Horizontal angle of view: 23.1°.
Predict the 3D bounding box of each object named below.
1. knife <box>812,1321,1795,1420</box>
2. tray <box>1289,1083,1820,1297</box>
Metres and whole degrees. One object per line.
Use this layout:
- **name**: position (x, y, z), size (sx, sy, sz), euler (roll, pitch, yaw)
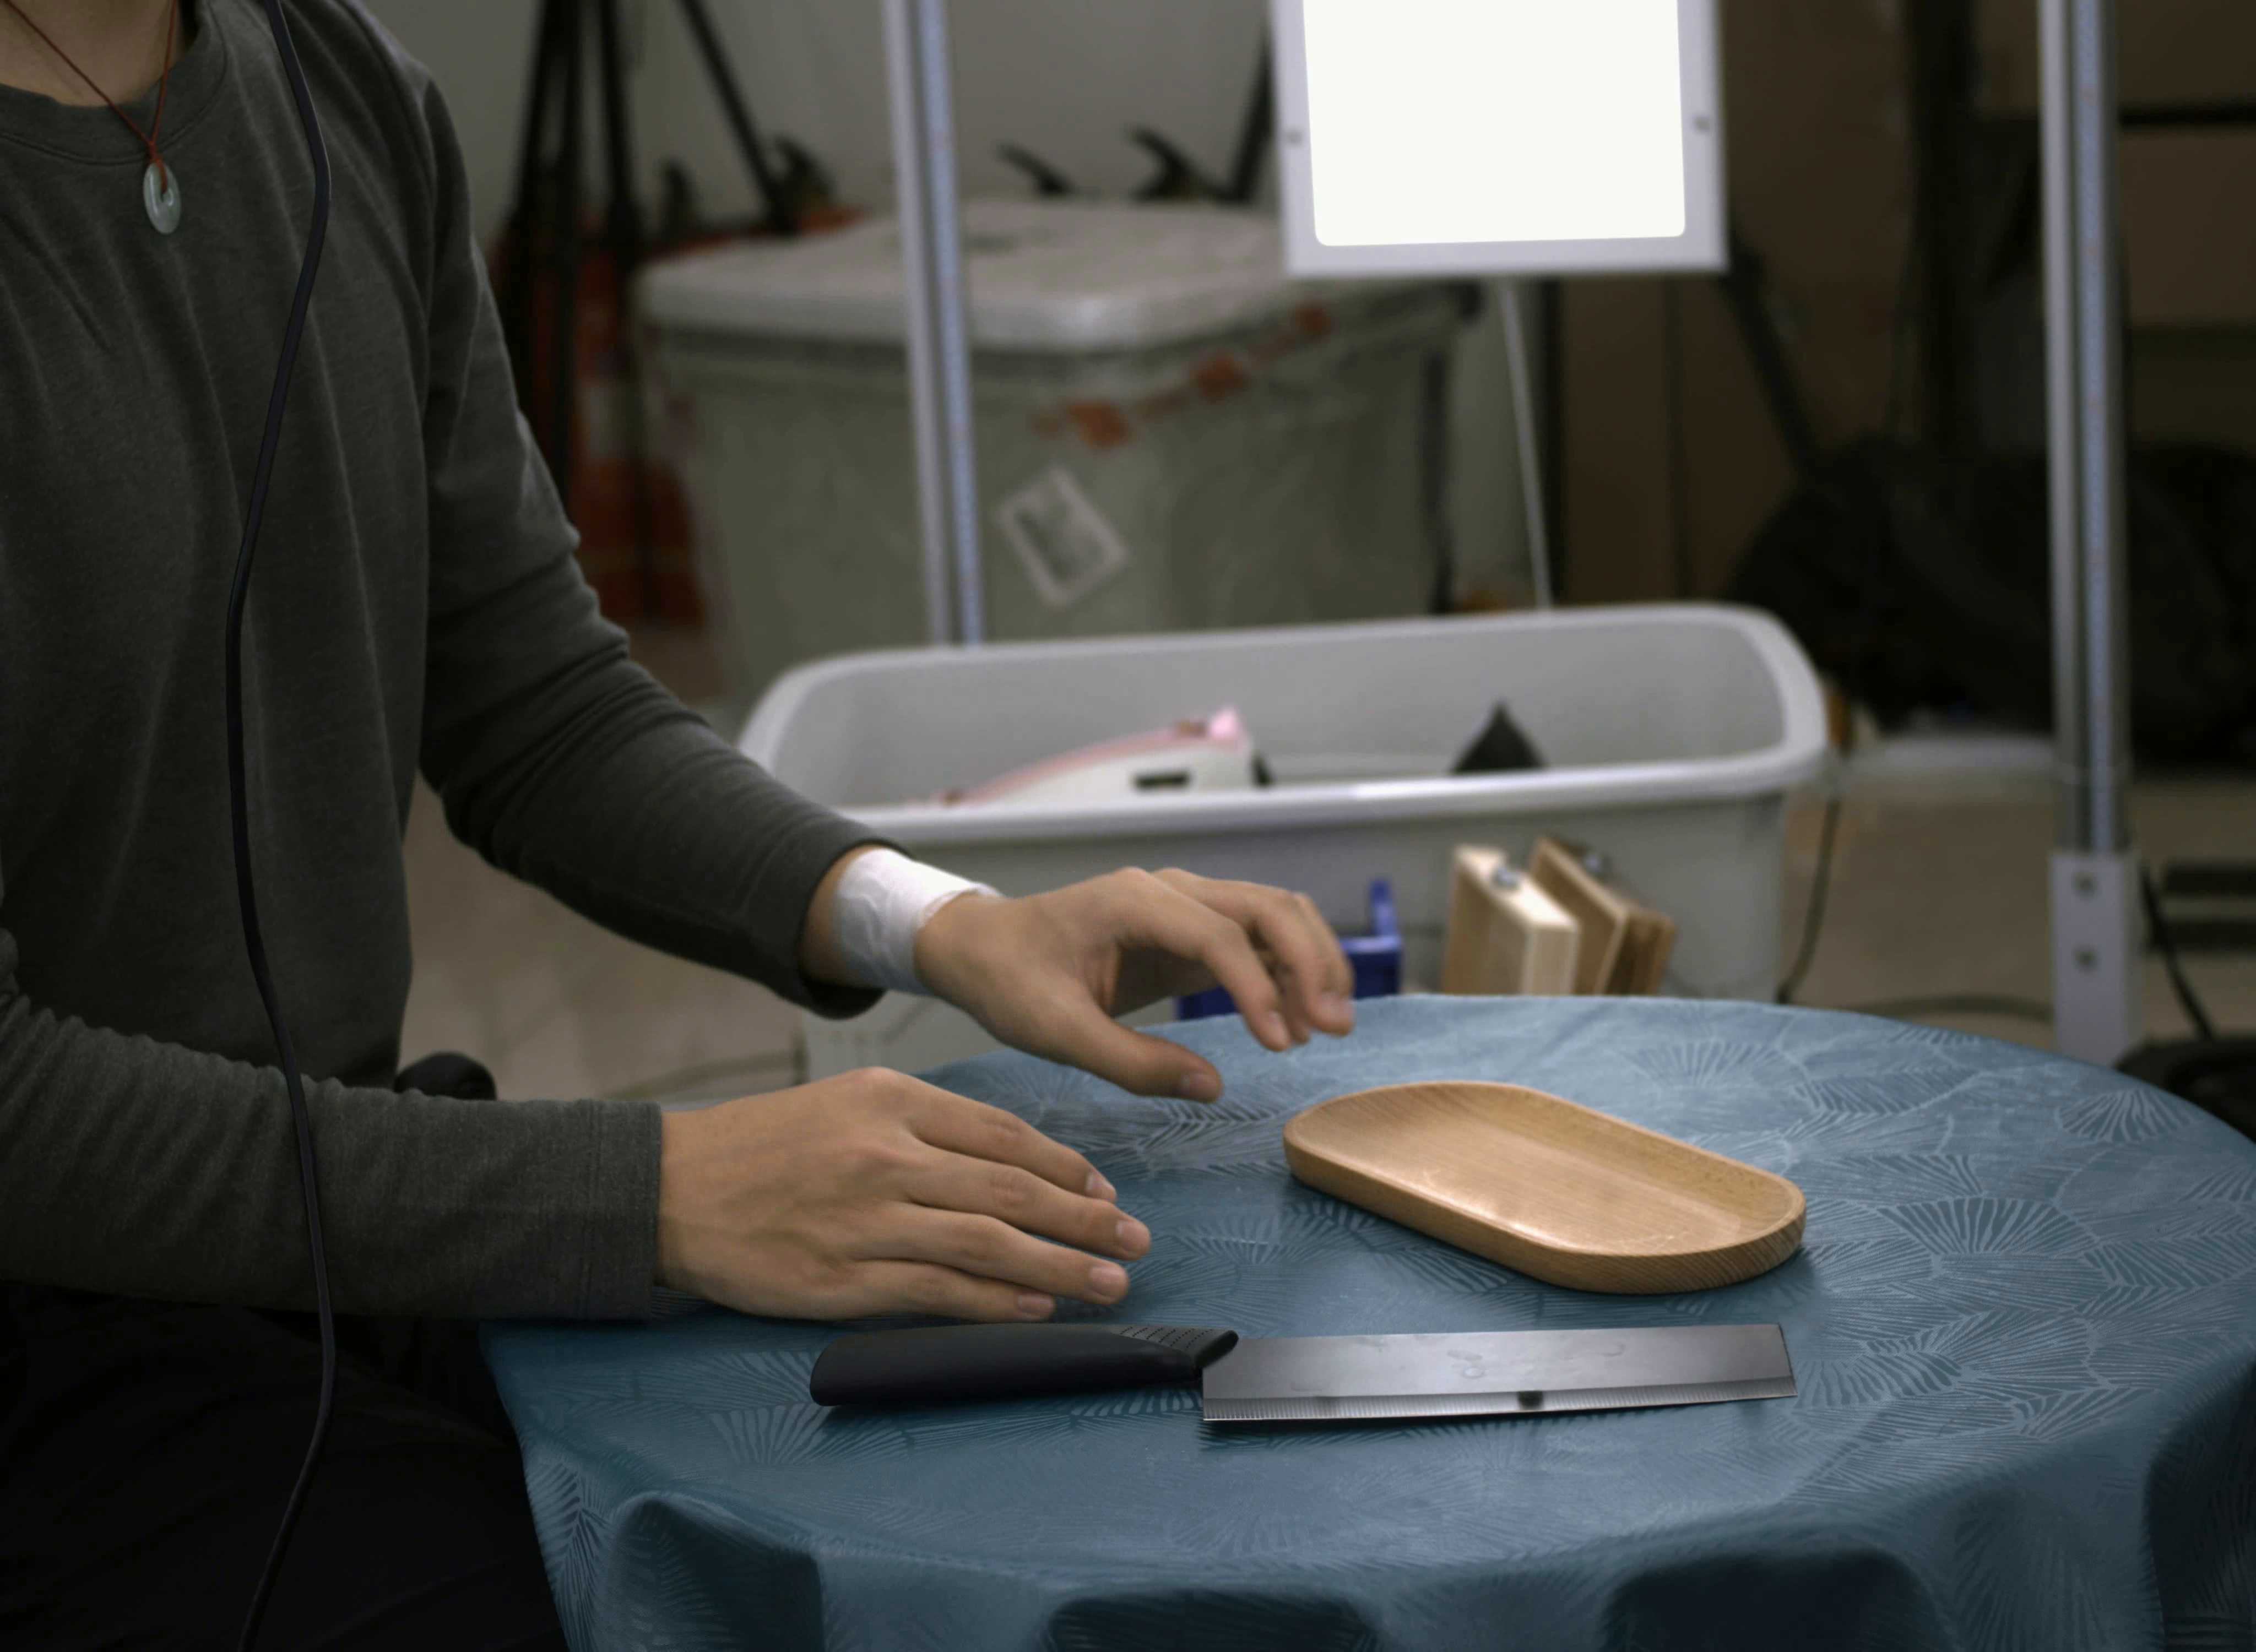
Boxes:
- **knife**: position (0.054, 0.168, 1.688), size (0.303, 0.021, 0.080), euler (-1, 15, 8)
- **tray**: position (0.141, 0.120, 1.843), size (0.099, 0.020, 0.235), euler (-15, 18, -28)
